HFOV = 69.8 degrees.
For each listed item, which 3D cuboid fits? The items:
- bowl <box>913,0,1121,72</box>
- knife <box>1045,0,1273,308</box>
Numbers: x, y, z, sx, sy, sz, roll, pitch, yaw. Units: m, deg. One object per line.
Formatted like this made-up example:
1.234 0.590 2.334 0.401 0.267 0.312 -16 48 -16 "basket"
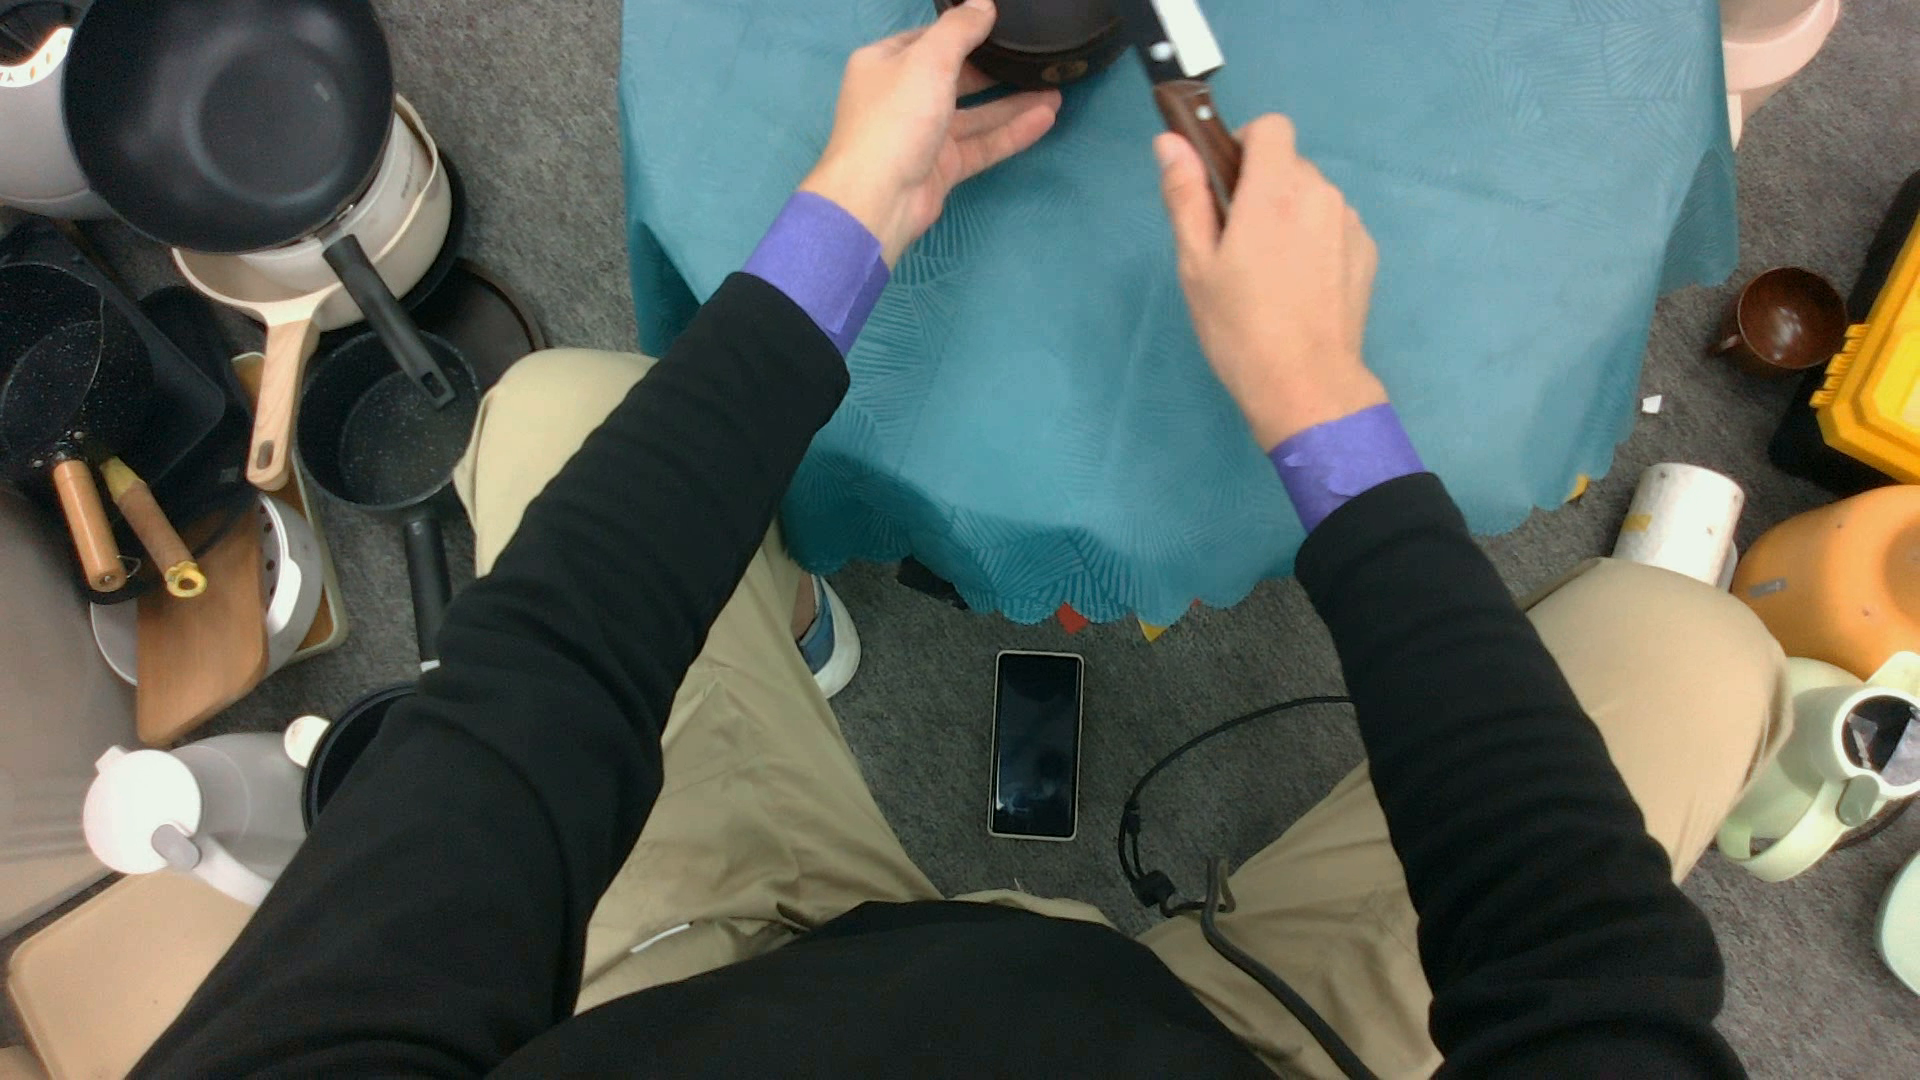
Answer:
0.030 -0.301 0.727 0.118 0.070 0.118 0 81 3 "bowl"
0.067 -0.236 0.640 0.050 0.020 0.289 -34 96 -30 "knife"
